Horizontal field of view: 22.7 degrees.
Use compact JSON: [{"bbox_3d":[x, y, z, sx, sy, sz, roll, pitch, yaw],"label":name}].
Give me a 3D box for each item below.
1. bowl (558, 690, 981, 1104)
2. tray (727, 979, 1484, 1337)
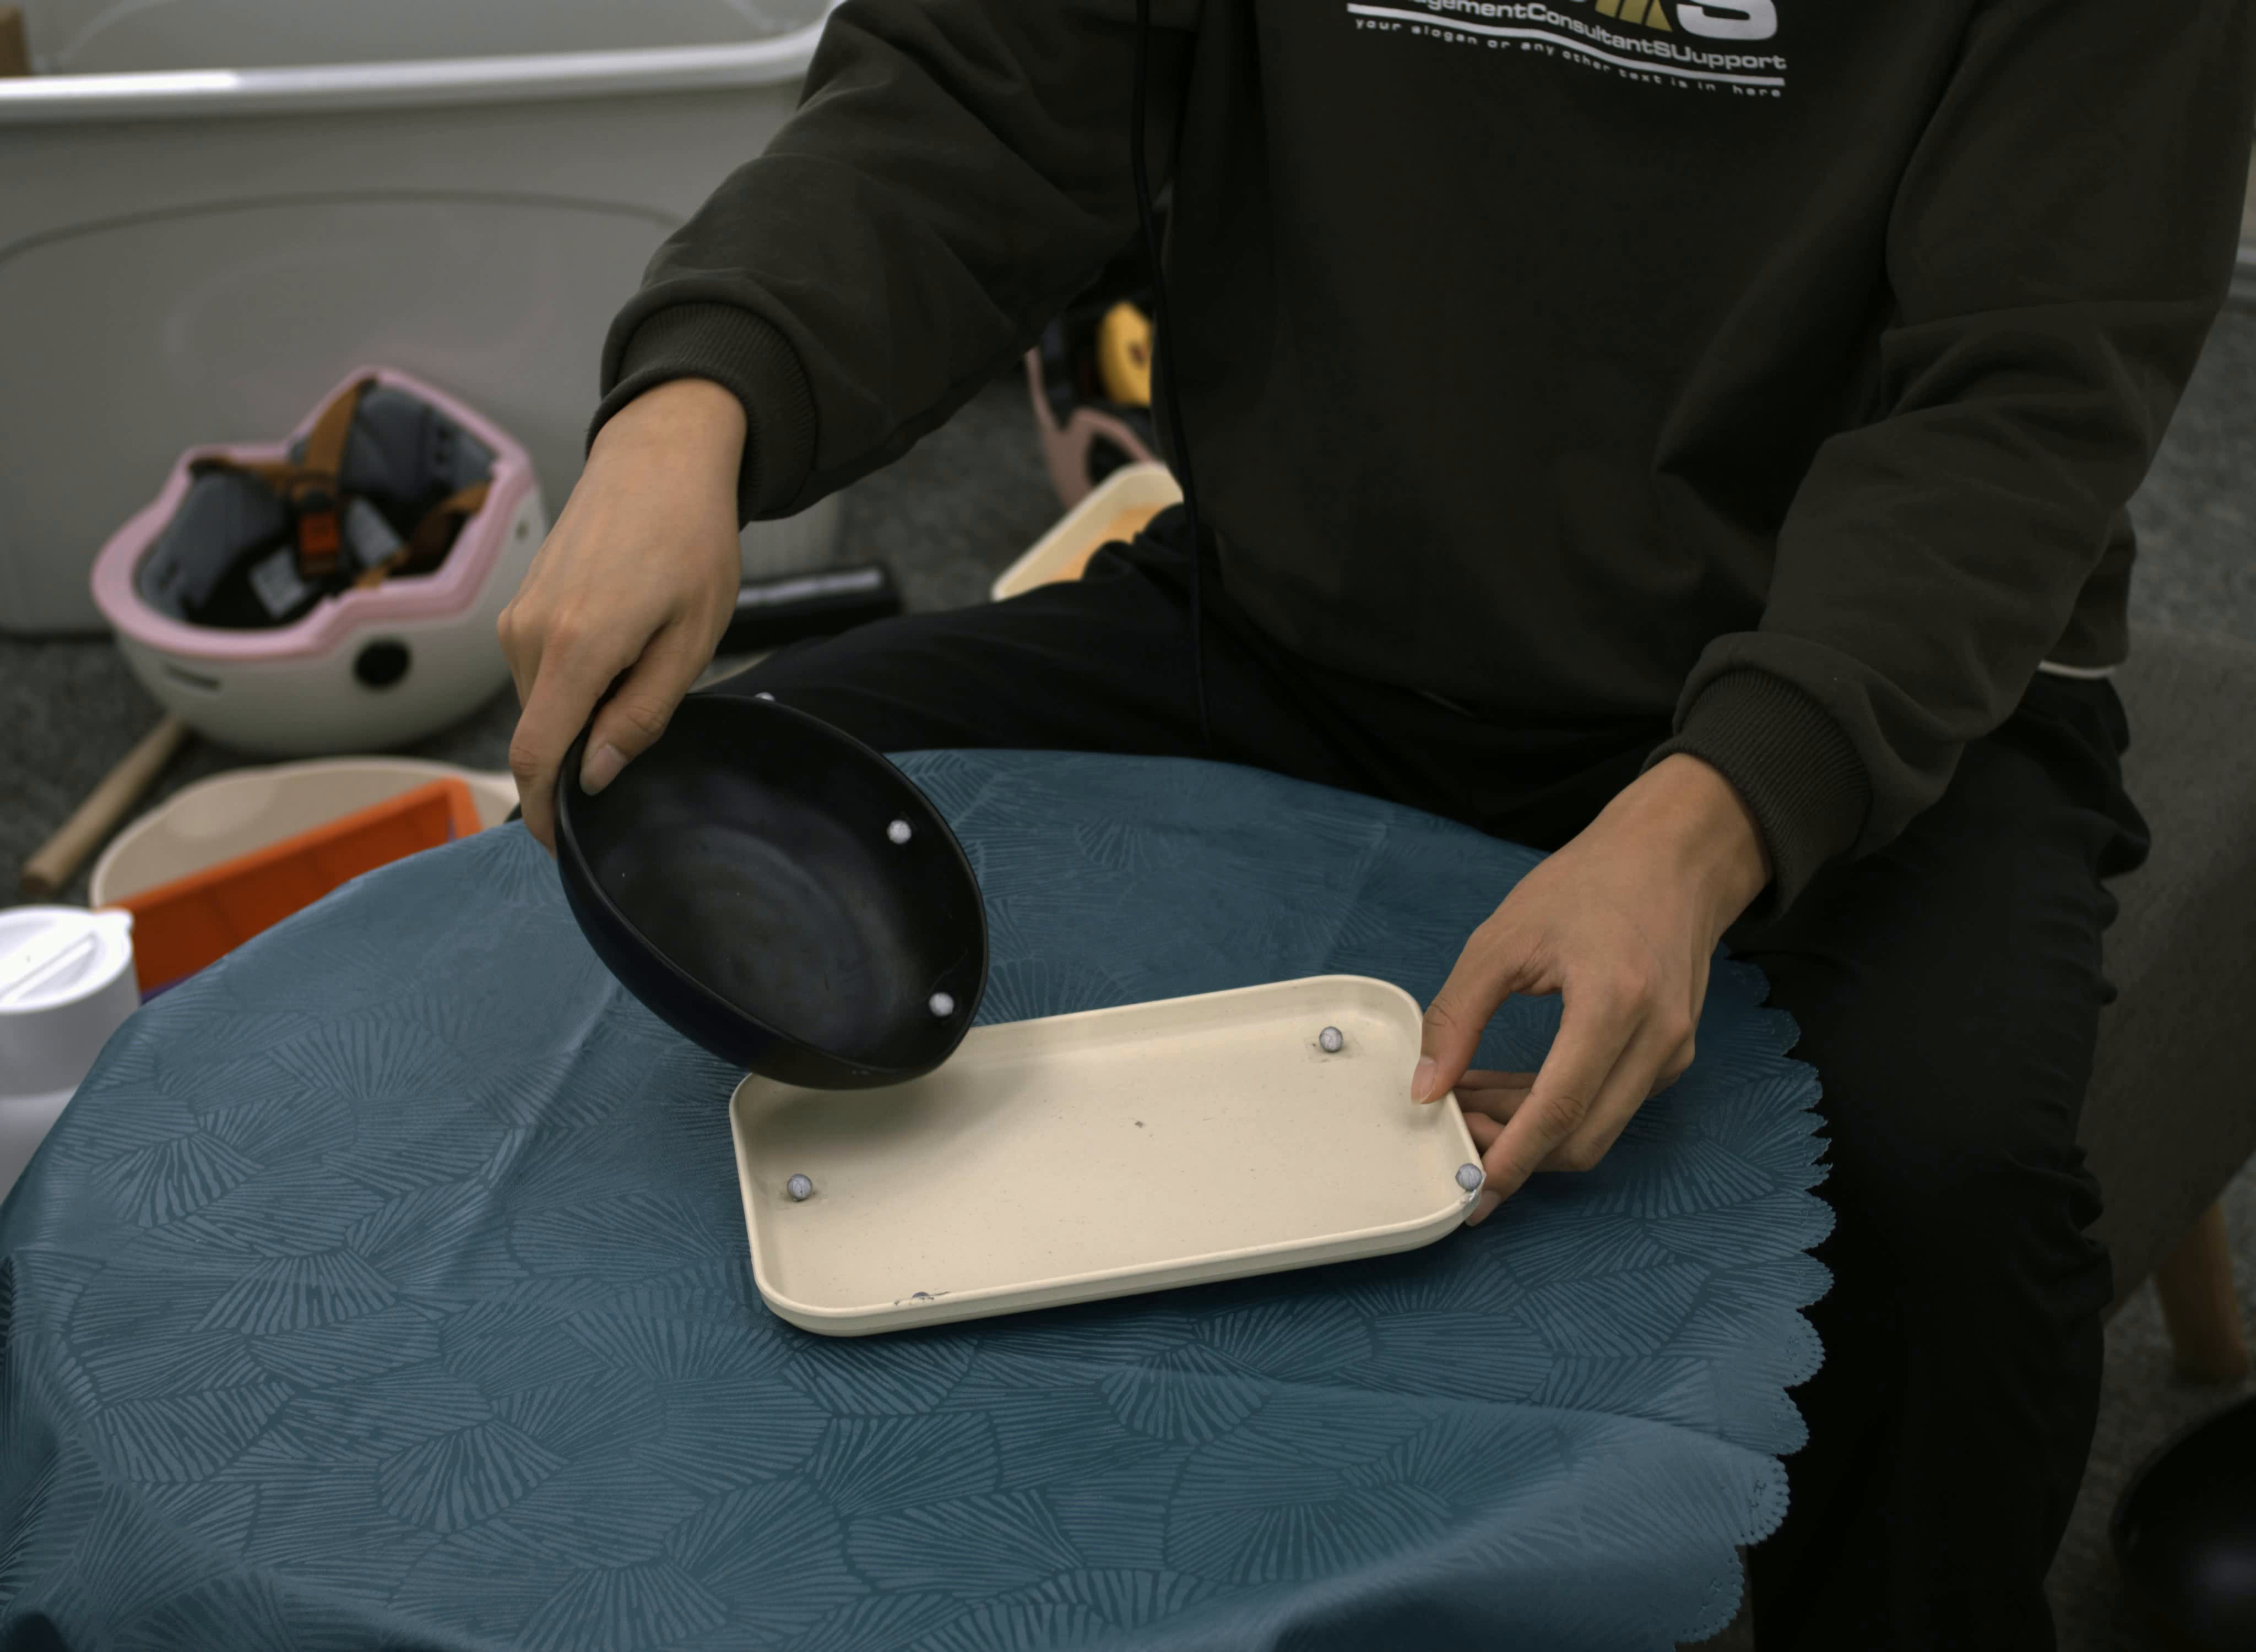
[{"bbox_3d":[-0.127,0.033,1.915,0.171,0.065,0.139,44,46,13],"label":"bowl"},{"bbox_3d":[-0.010,0.110,1.860,0.239,0.017,0.173,-8,26,-6],"label":"tray"}]
